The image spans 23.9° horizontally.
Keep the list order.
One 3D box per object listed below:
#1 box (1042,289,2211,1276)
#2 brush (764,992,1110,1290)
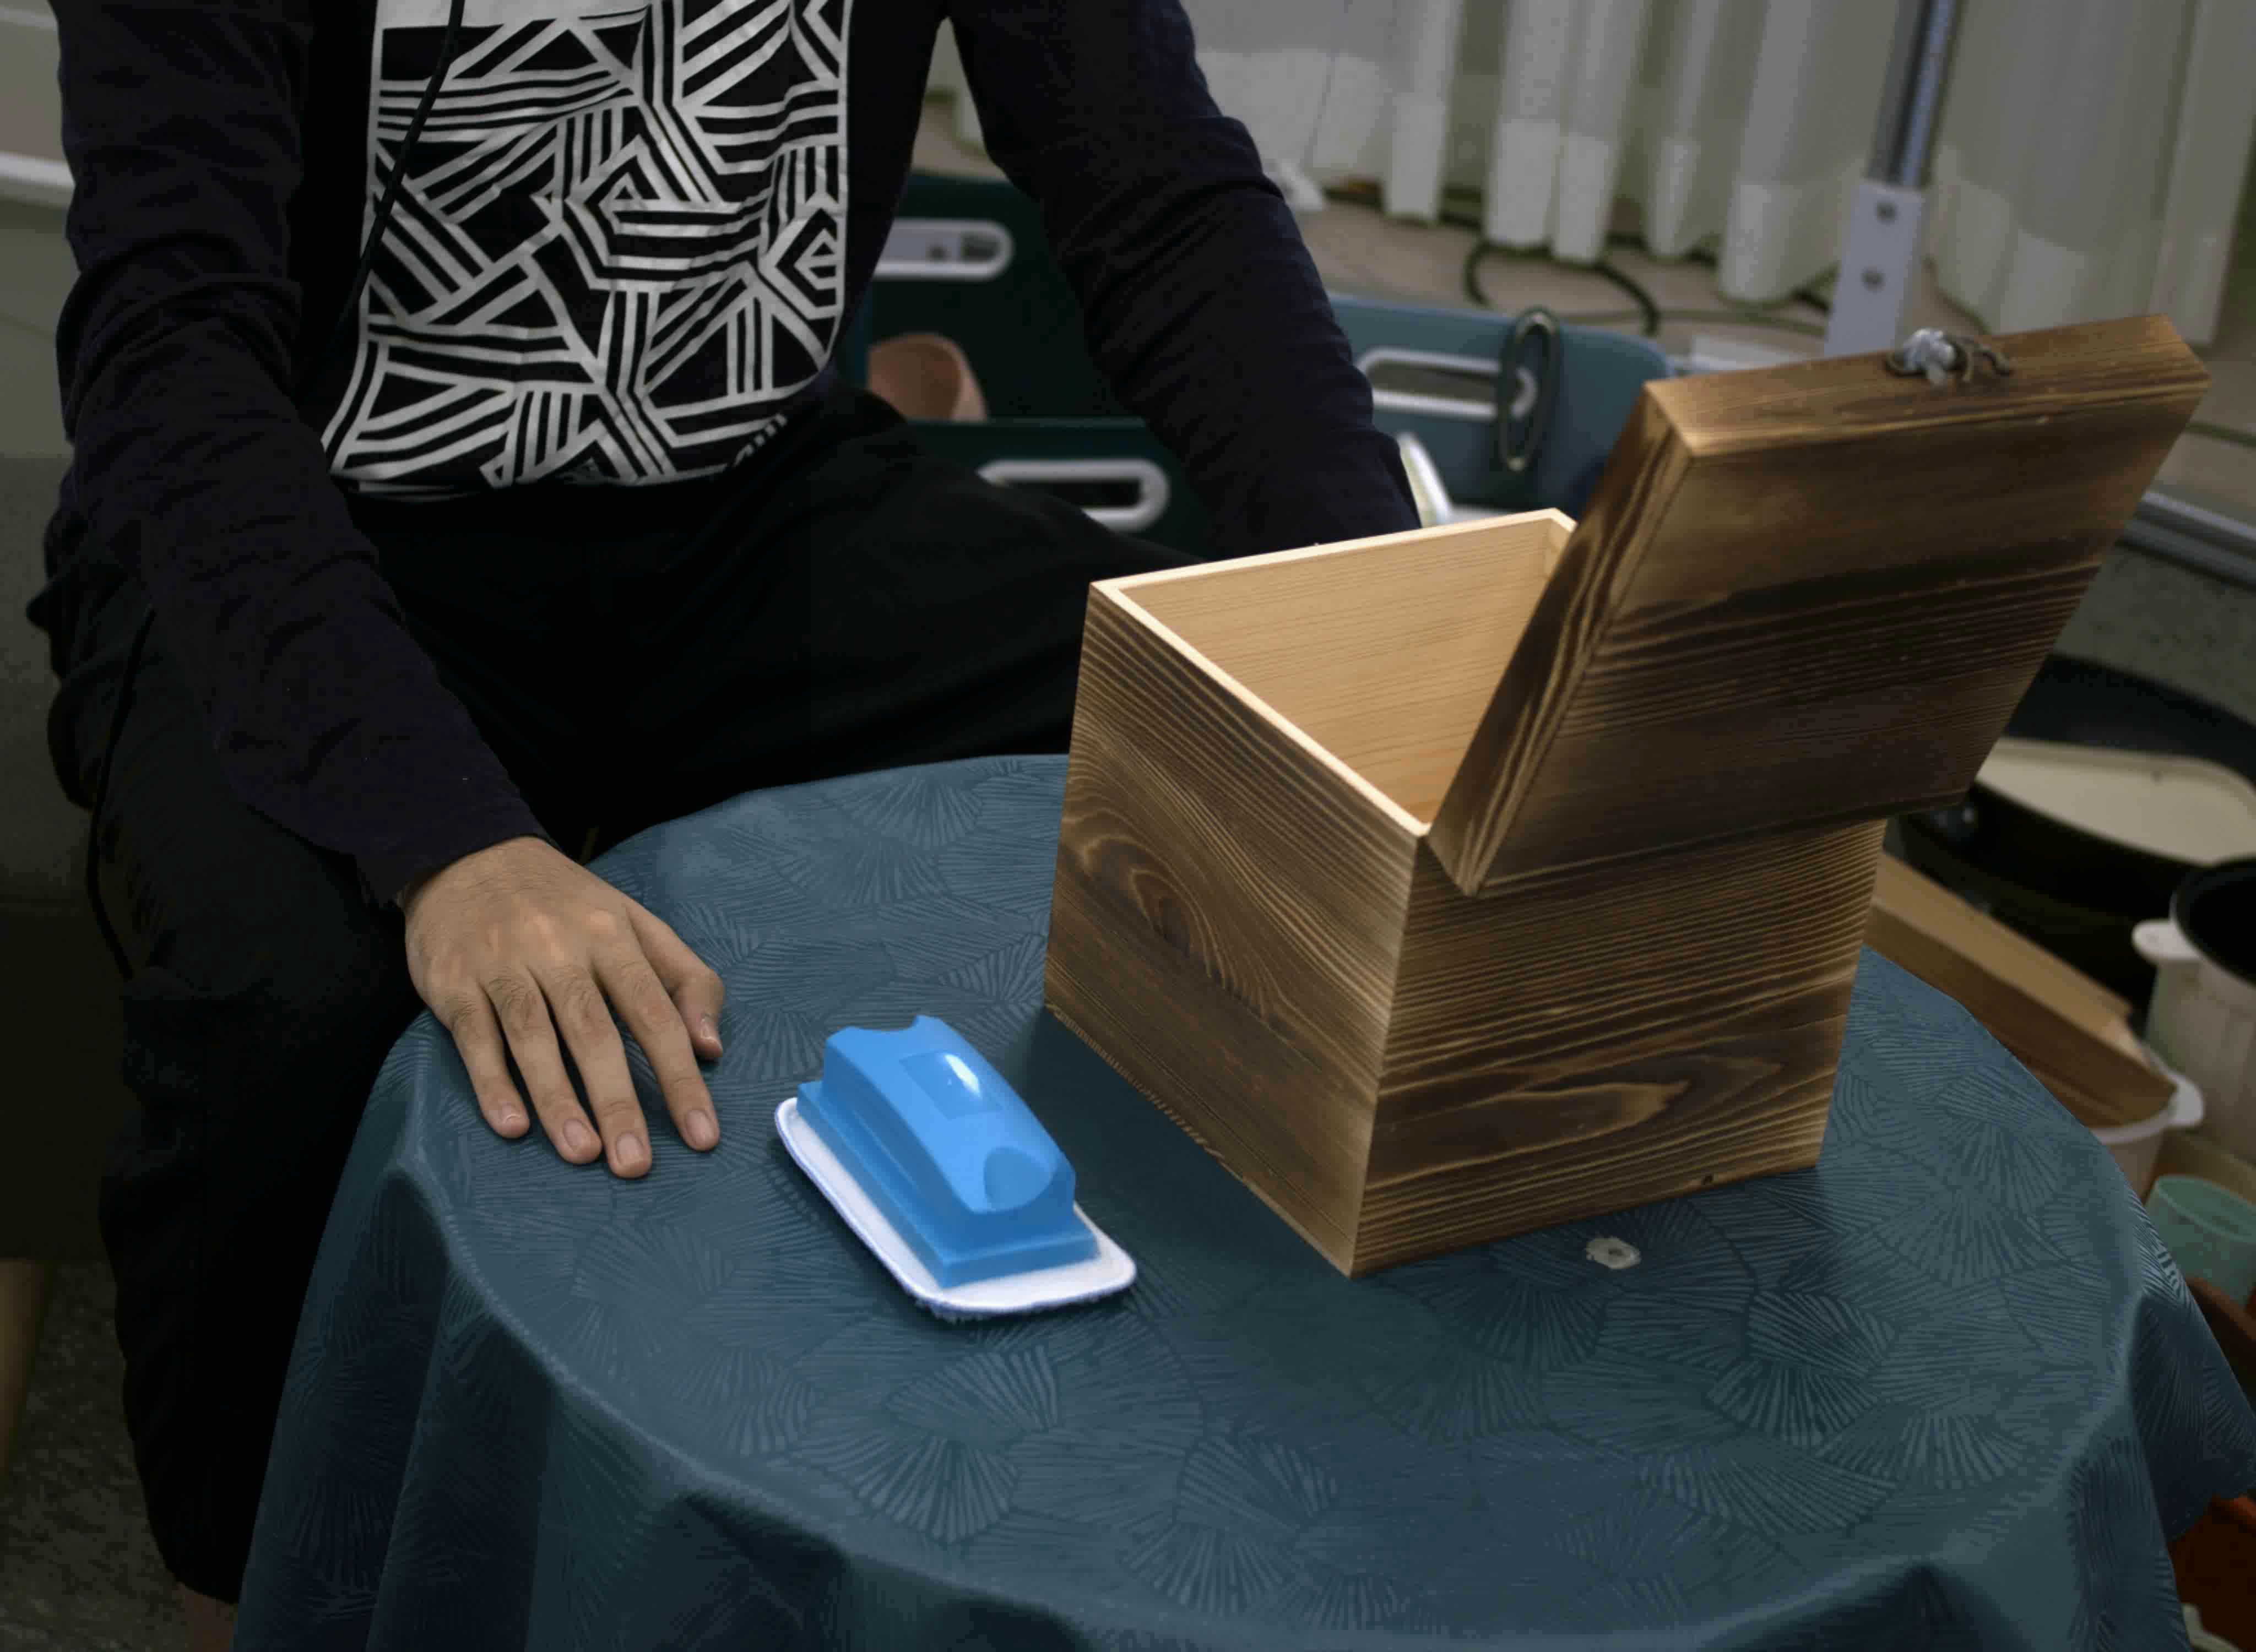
[{"bbox_3d":[0.154,-0.046,1.777,0.207,0.374,0.325,-10,31,-31],"label":"box"},{"bbox_3d":[-0.061,0.100,1.772,0.083,0.056,0.145,-3,30,-25],"label":"brush"}]
